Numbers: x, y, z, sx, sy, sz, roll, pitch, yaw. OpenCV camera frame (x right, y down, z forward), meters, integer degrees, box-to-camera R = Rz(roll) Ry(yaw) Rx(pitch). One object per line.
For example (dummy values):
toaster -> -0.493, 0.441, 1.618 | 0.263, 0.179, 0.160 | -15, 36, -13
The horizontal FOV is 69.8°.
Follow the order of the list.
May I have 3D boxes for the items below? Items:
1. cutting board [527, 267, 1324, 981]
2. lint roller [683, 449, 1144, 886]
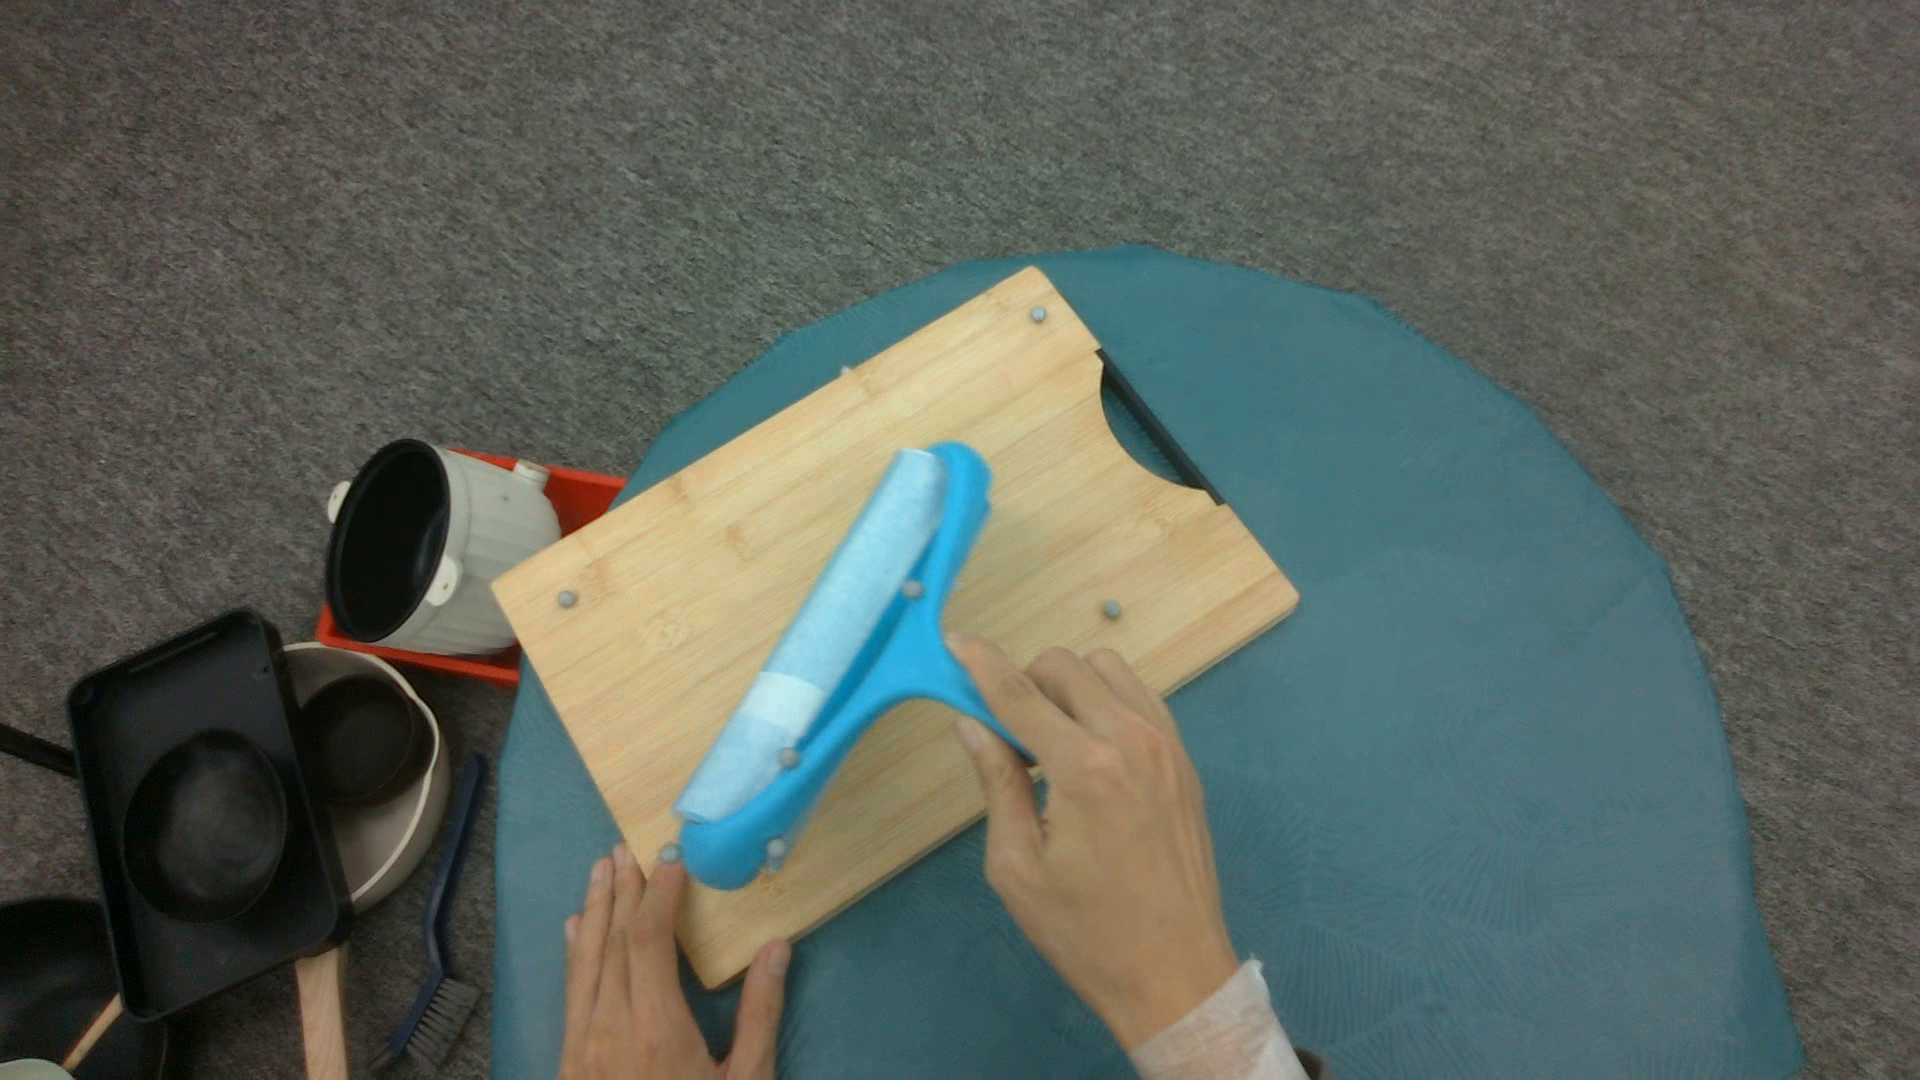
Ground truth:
cutting board -> -0.026, 0.028, 0.719 | 0.349, 0.023, 0.251 | -33, 69, -8
lint roller -> -0.006, 0.065, 0.594 | 0.180, 0.068, 0.230 | 14, 63, 38
